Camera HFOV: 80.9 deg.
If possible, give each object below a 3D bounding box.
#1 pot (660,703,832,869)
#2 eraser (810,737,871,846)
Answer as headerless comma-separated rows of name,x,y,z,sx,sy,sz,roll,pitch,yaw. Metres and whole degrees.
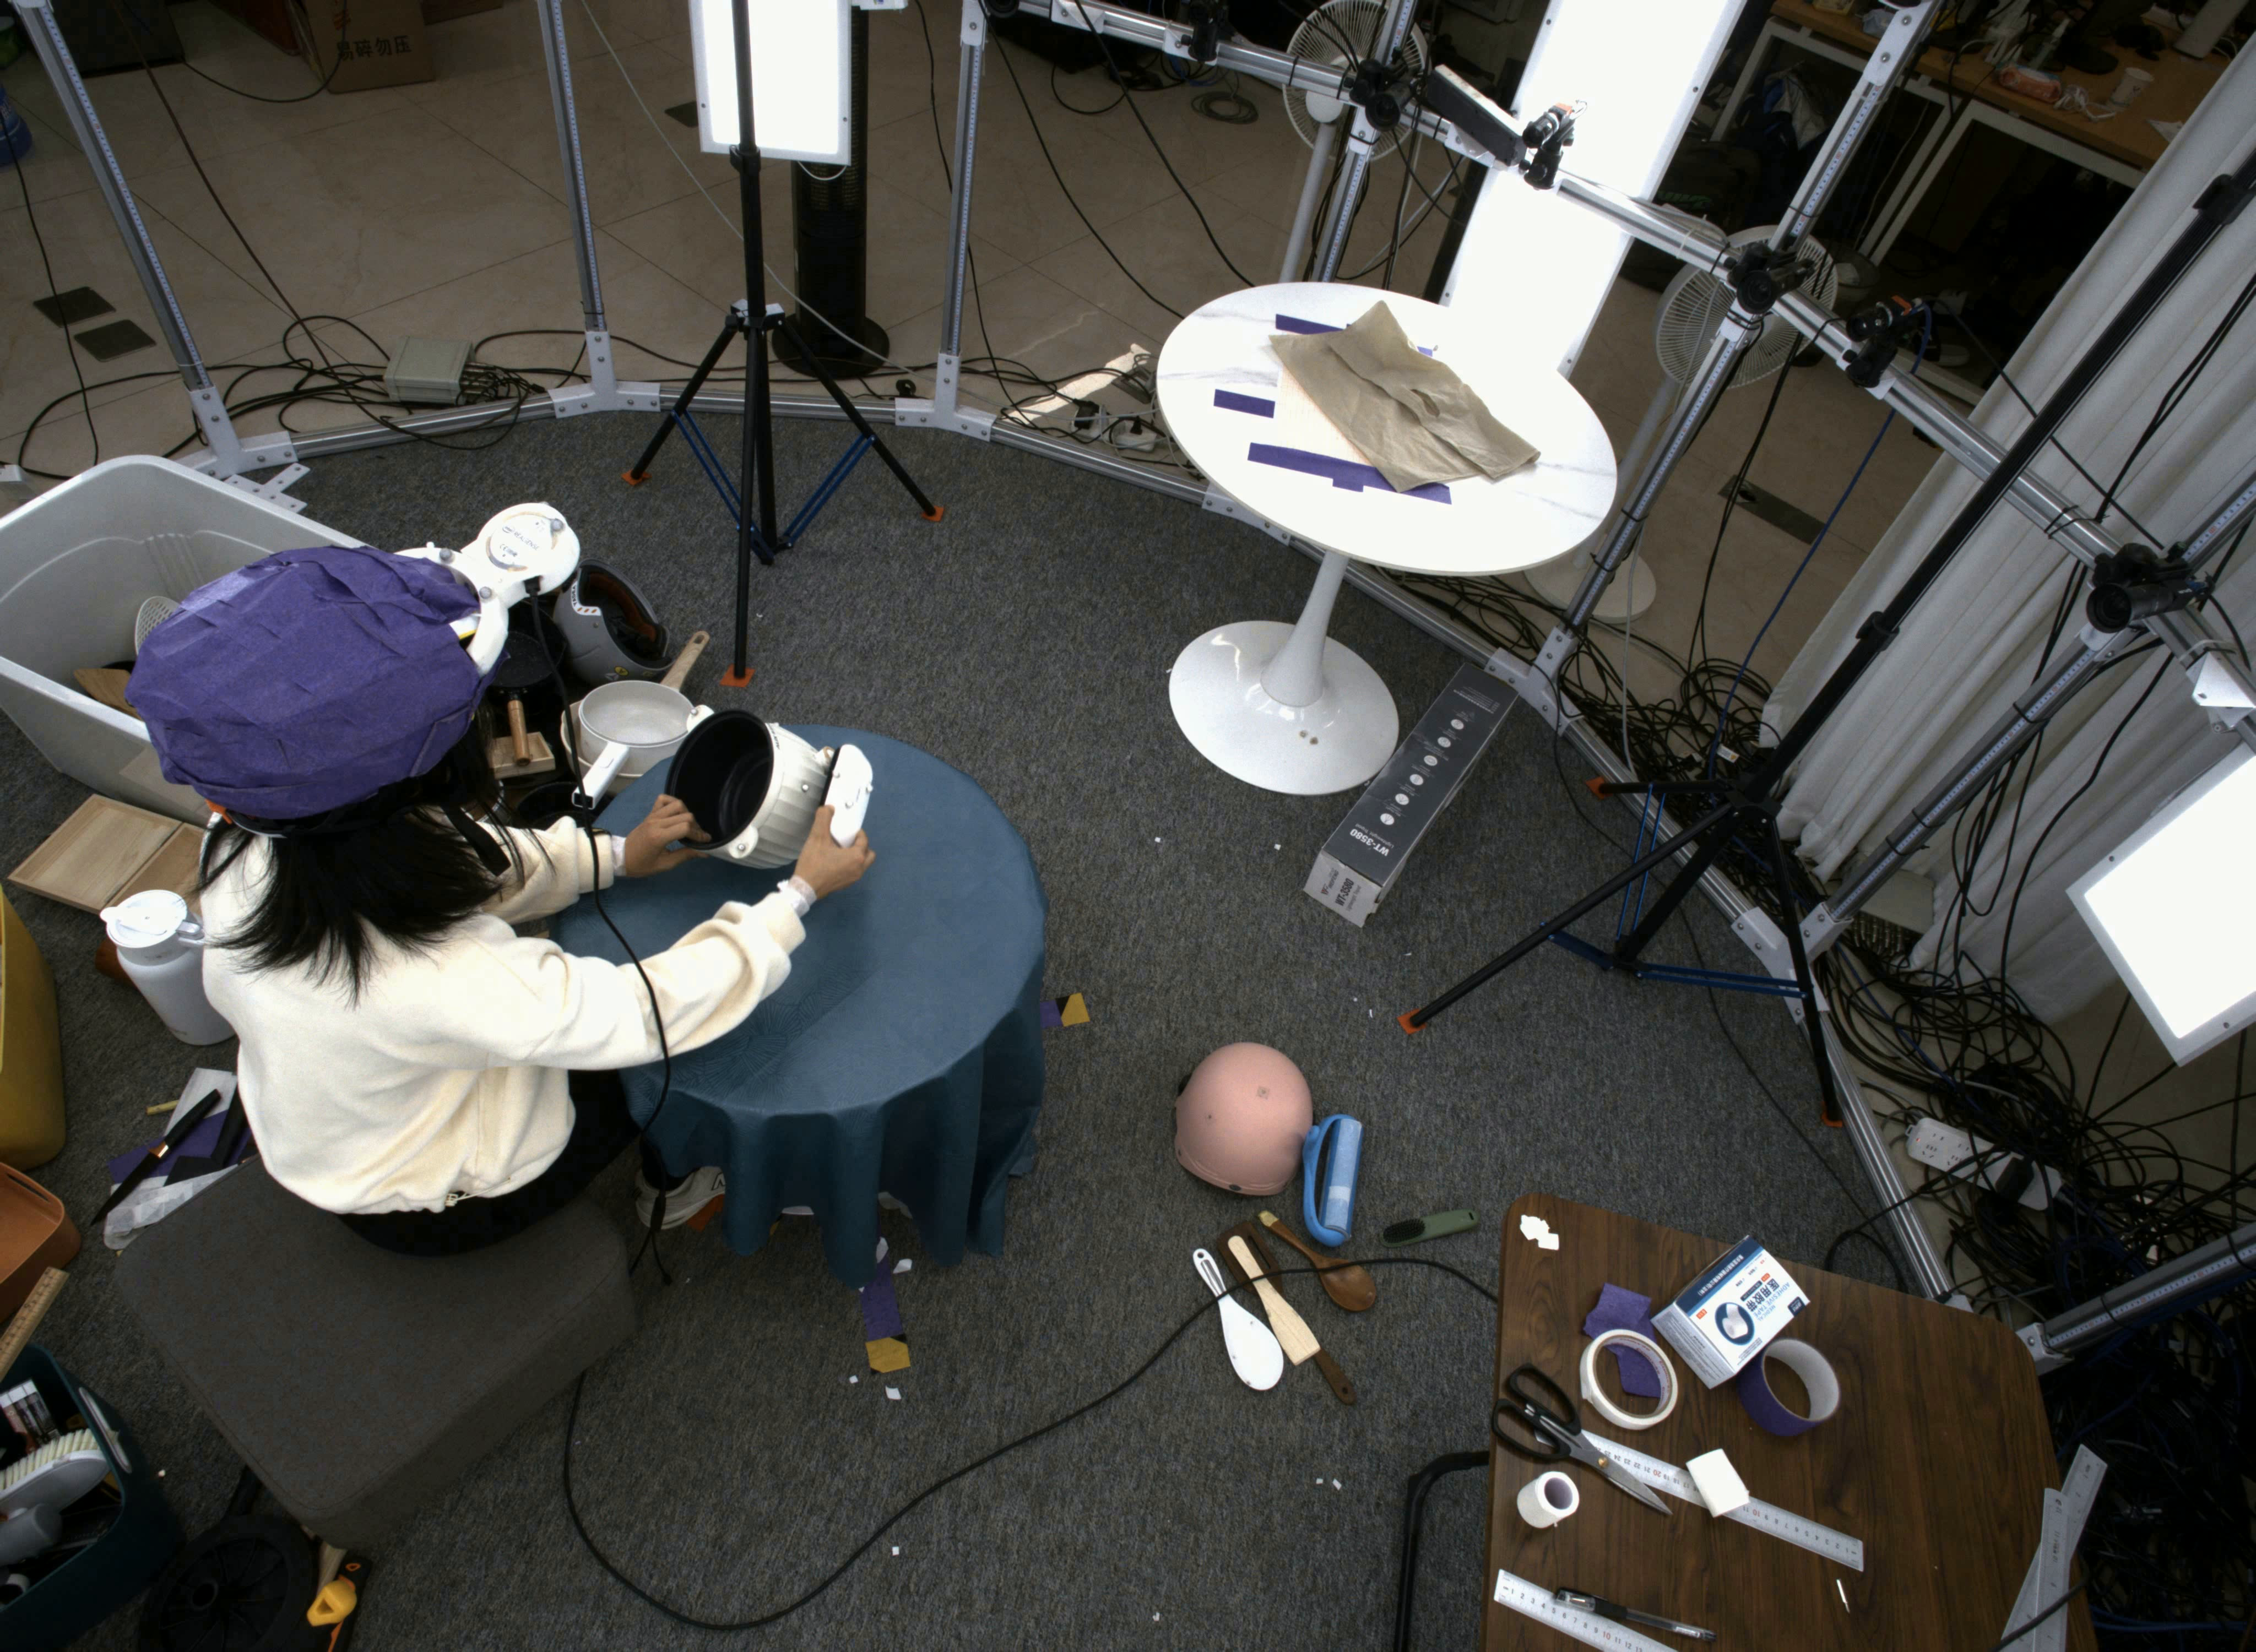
pot,-0.462,-0.047,1.601,0.147,0.190,0.234,22,32,-57
eraser,-0.346,-0.043,1.568,0.034,0.066,0.129,-6,56,19
